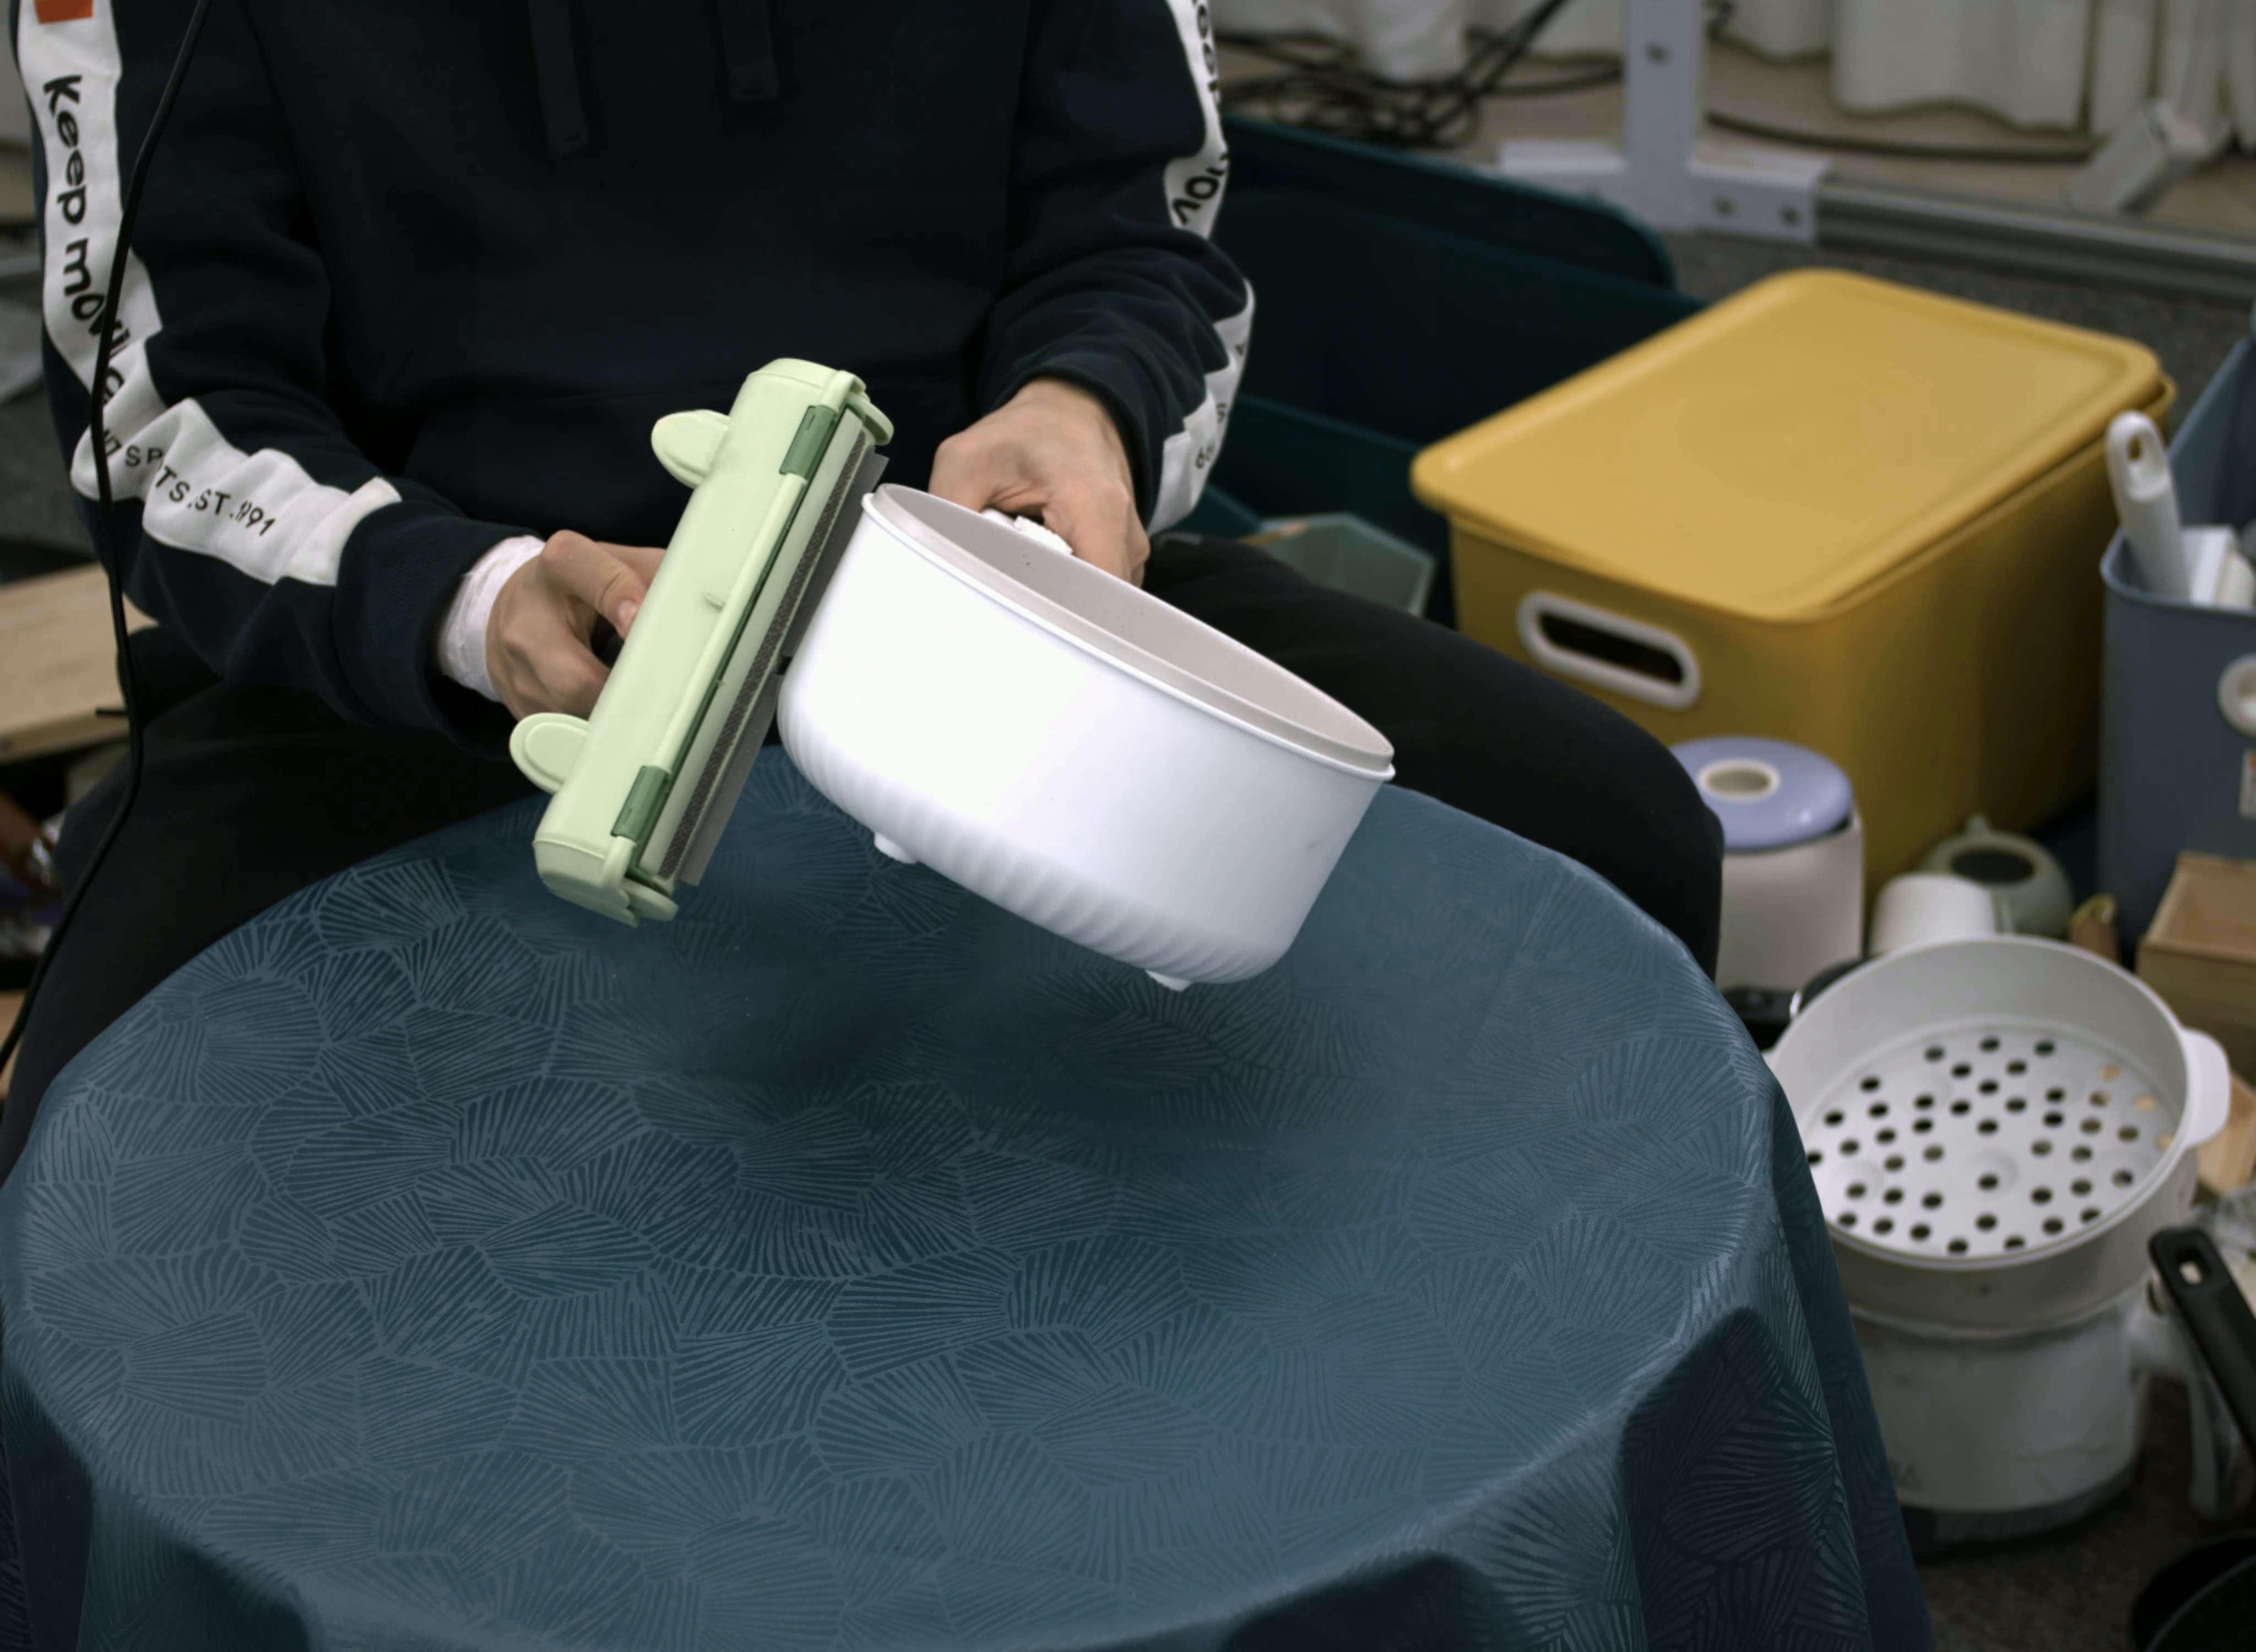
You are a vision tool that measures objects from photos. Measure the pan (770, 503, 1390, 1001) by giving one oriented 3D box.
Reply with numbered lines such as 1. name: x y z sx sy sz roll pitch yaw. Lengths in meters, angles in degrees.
1. pan: -0.038 -0.037 1.961 0.200 0.102 0.356 24 6 -17

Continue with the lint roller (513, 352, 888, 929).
1. lint roller: -0.169 -0.064 1.931 0.082 0.201 0.182 29 -16 -25
